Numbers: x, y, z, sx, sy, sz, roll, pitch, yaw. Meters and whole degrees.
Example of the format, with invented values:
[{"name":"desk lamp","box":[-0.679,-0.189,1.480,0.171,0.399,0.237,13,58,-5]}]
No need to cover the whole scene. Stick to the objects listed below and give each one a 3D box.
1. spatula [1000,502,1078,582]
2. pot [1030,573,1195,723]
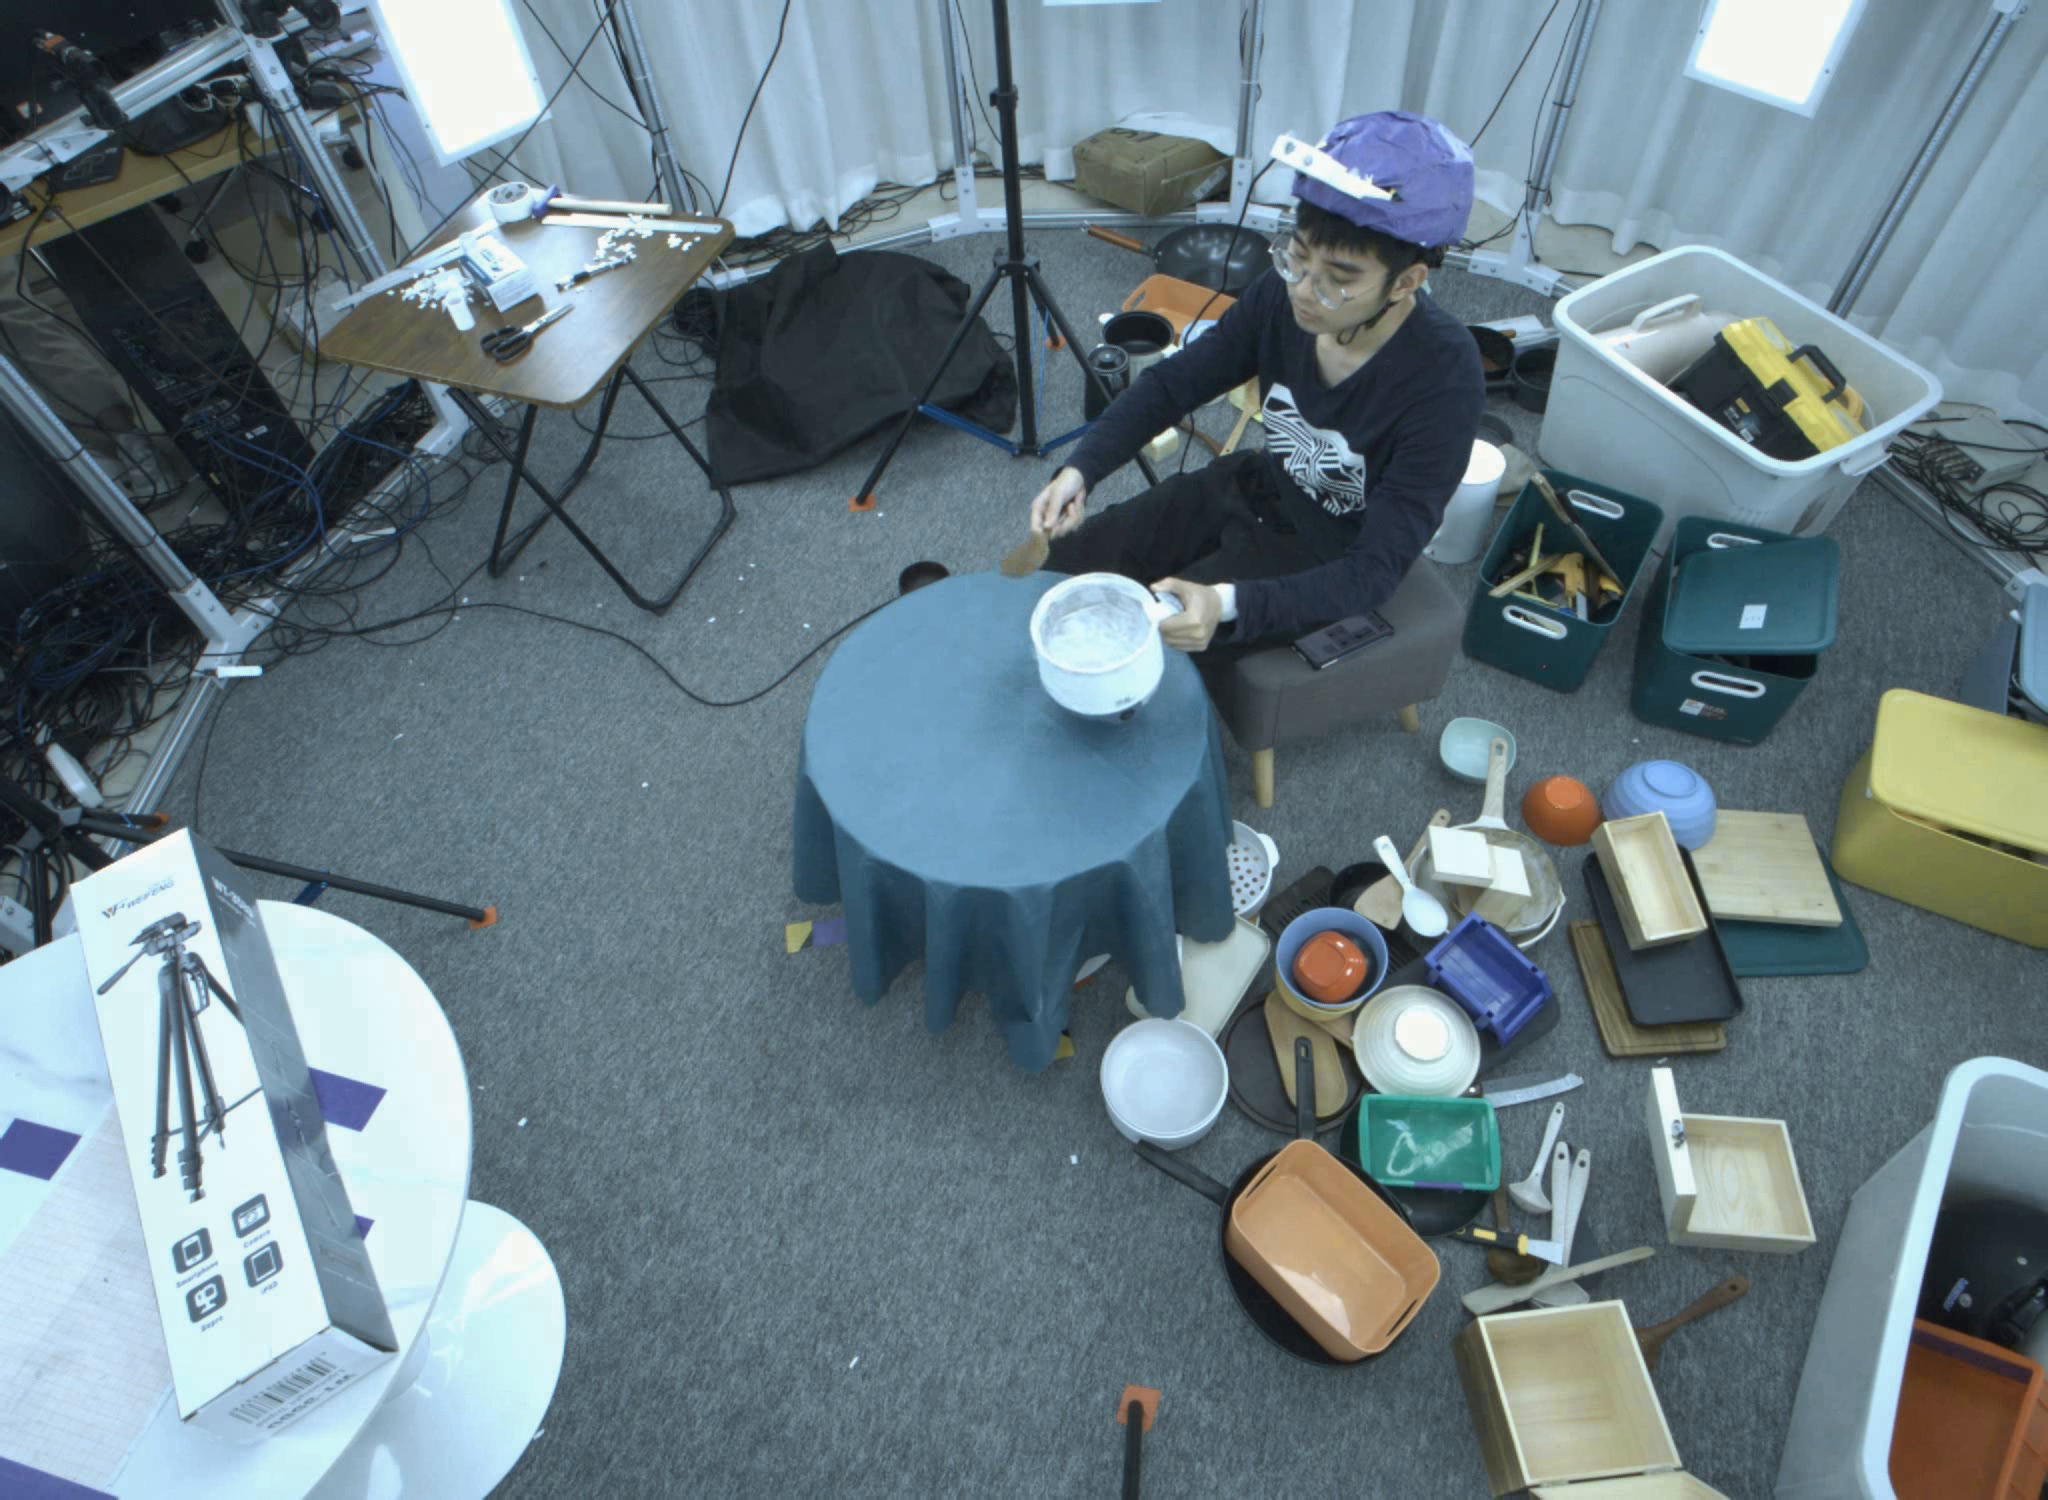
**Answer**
[{"name":"spatula","box":[0.032,-0.313,1.826,0.070,0.009,0.216,6,43,29]},{"name":"pot","box":[0.131,-0.153,1.742,0.234,0.138,0.175,-25,59,-7]}]
